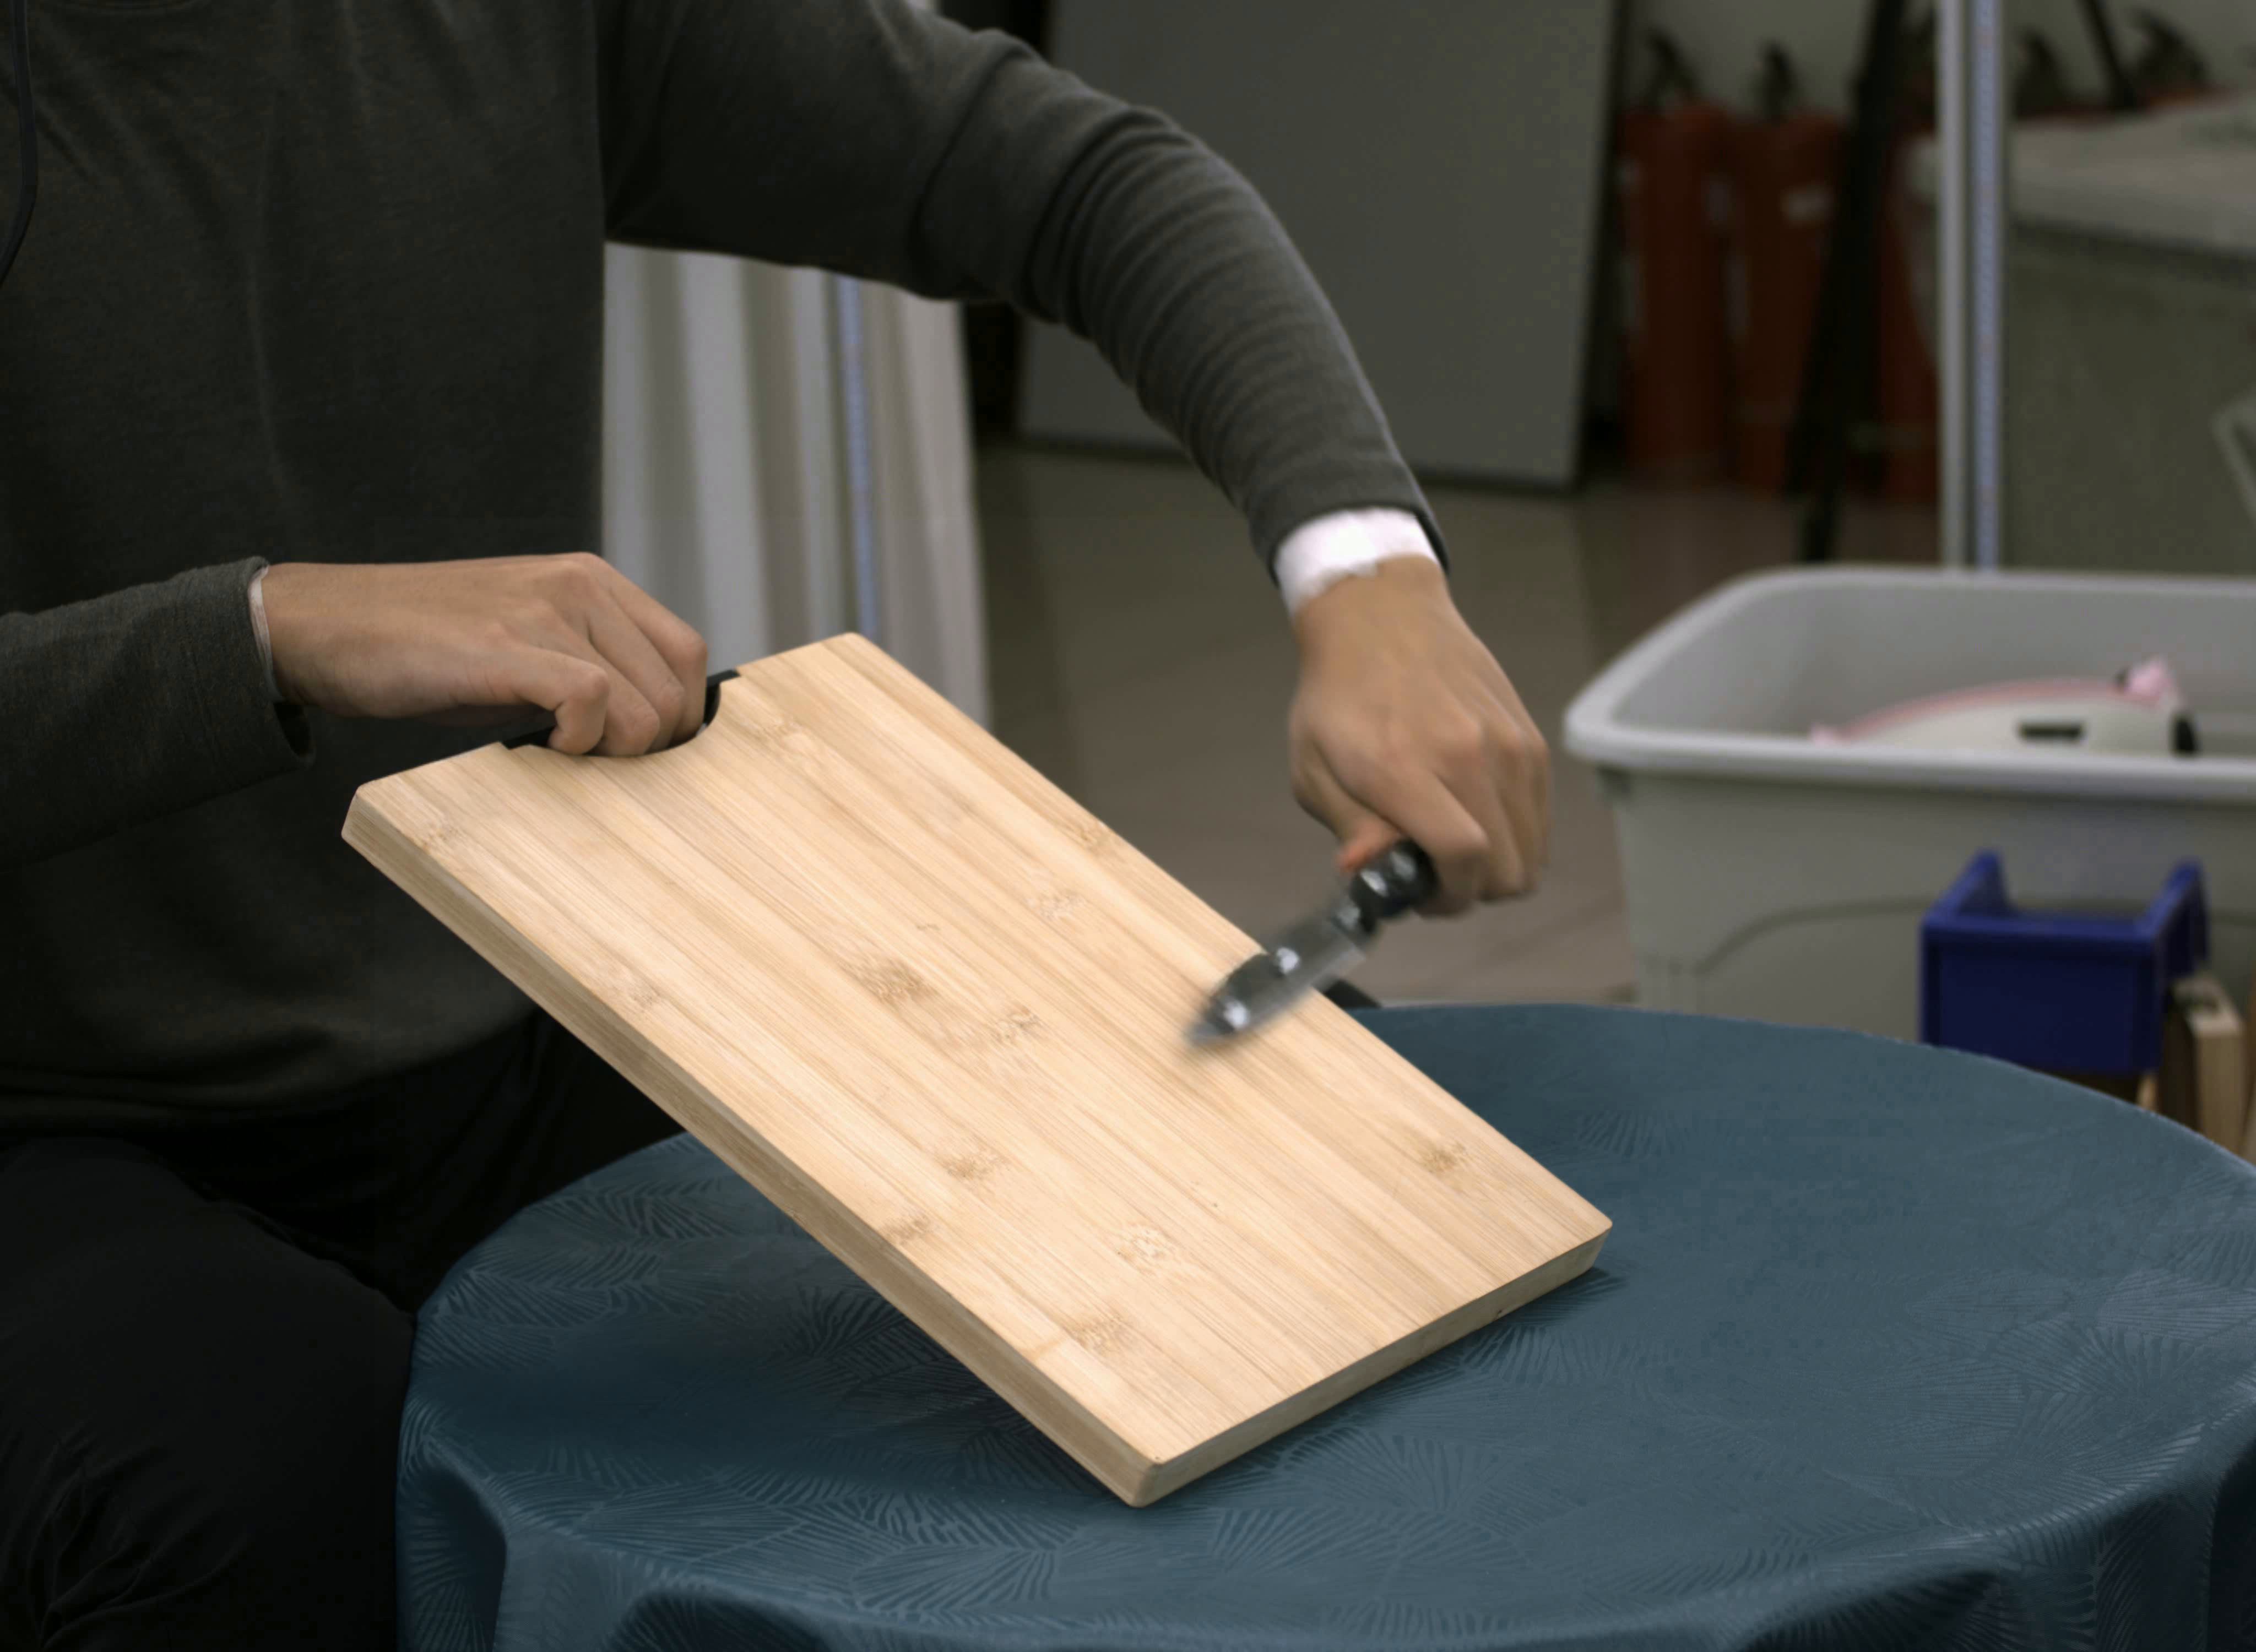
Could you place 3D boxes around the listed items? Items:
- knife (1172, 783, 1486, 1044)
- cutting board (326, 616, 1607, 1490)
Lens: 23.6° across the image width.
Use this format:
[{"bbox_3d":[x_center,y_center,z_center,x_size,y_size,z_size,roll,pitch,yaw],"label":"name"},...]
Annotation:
[{"bbox_3d":[0.064,0.028,1.754,0.024,0.016,0.235,43,32,7],"label":"knife"},{"bbox_3d":[-0.048,0.059,1.654,0.351,0.024,0.246,37,33,25],"label":"cutting board"}]
